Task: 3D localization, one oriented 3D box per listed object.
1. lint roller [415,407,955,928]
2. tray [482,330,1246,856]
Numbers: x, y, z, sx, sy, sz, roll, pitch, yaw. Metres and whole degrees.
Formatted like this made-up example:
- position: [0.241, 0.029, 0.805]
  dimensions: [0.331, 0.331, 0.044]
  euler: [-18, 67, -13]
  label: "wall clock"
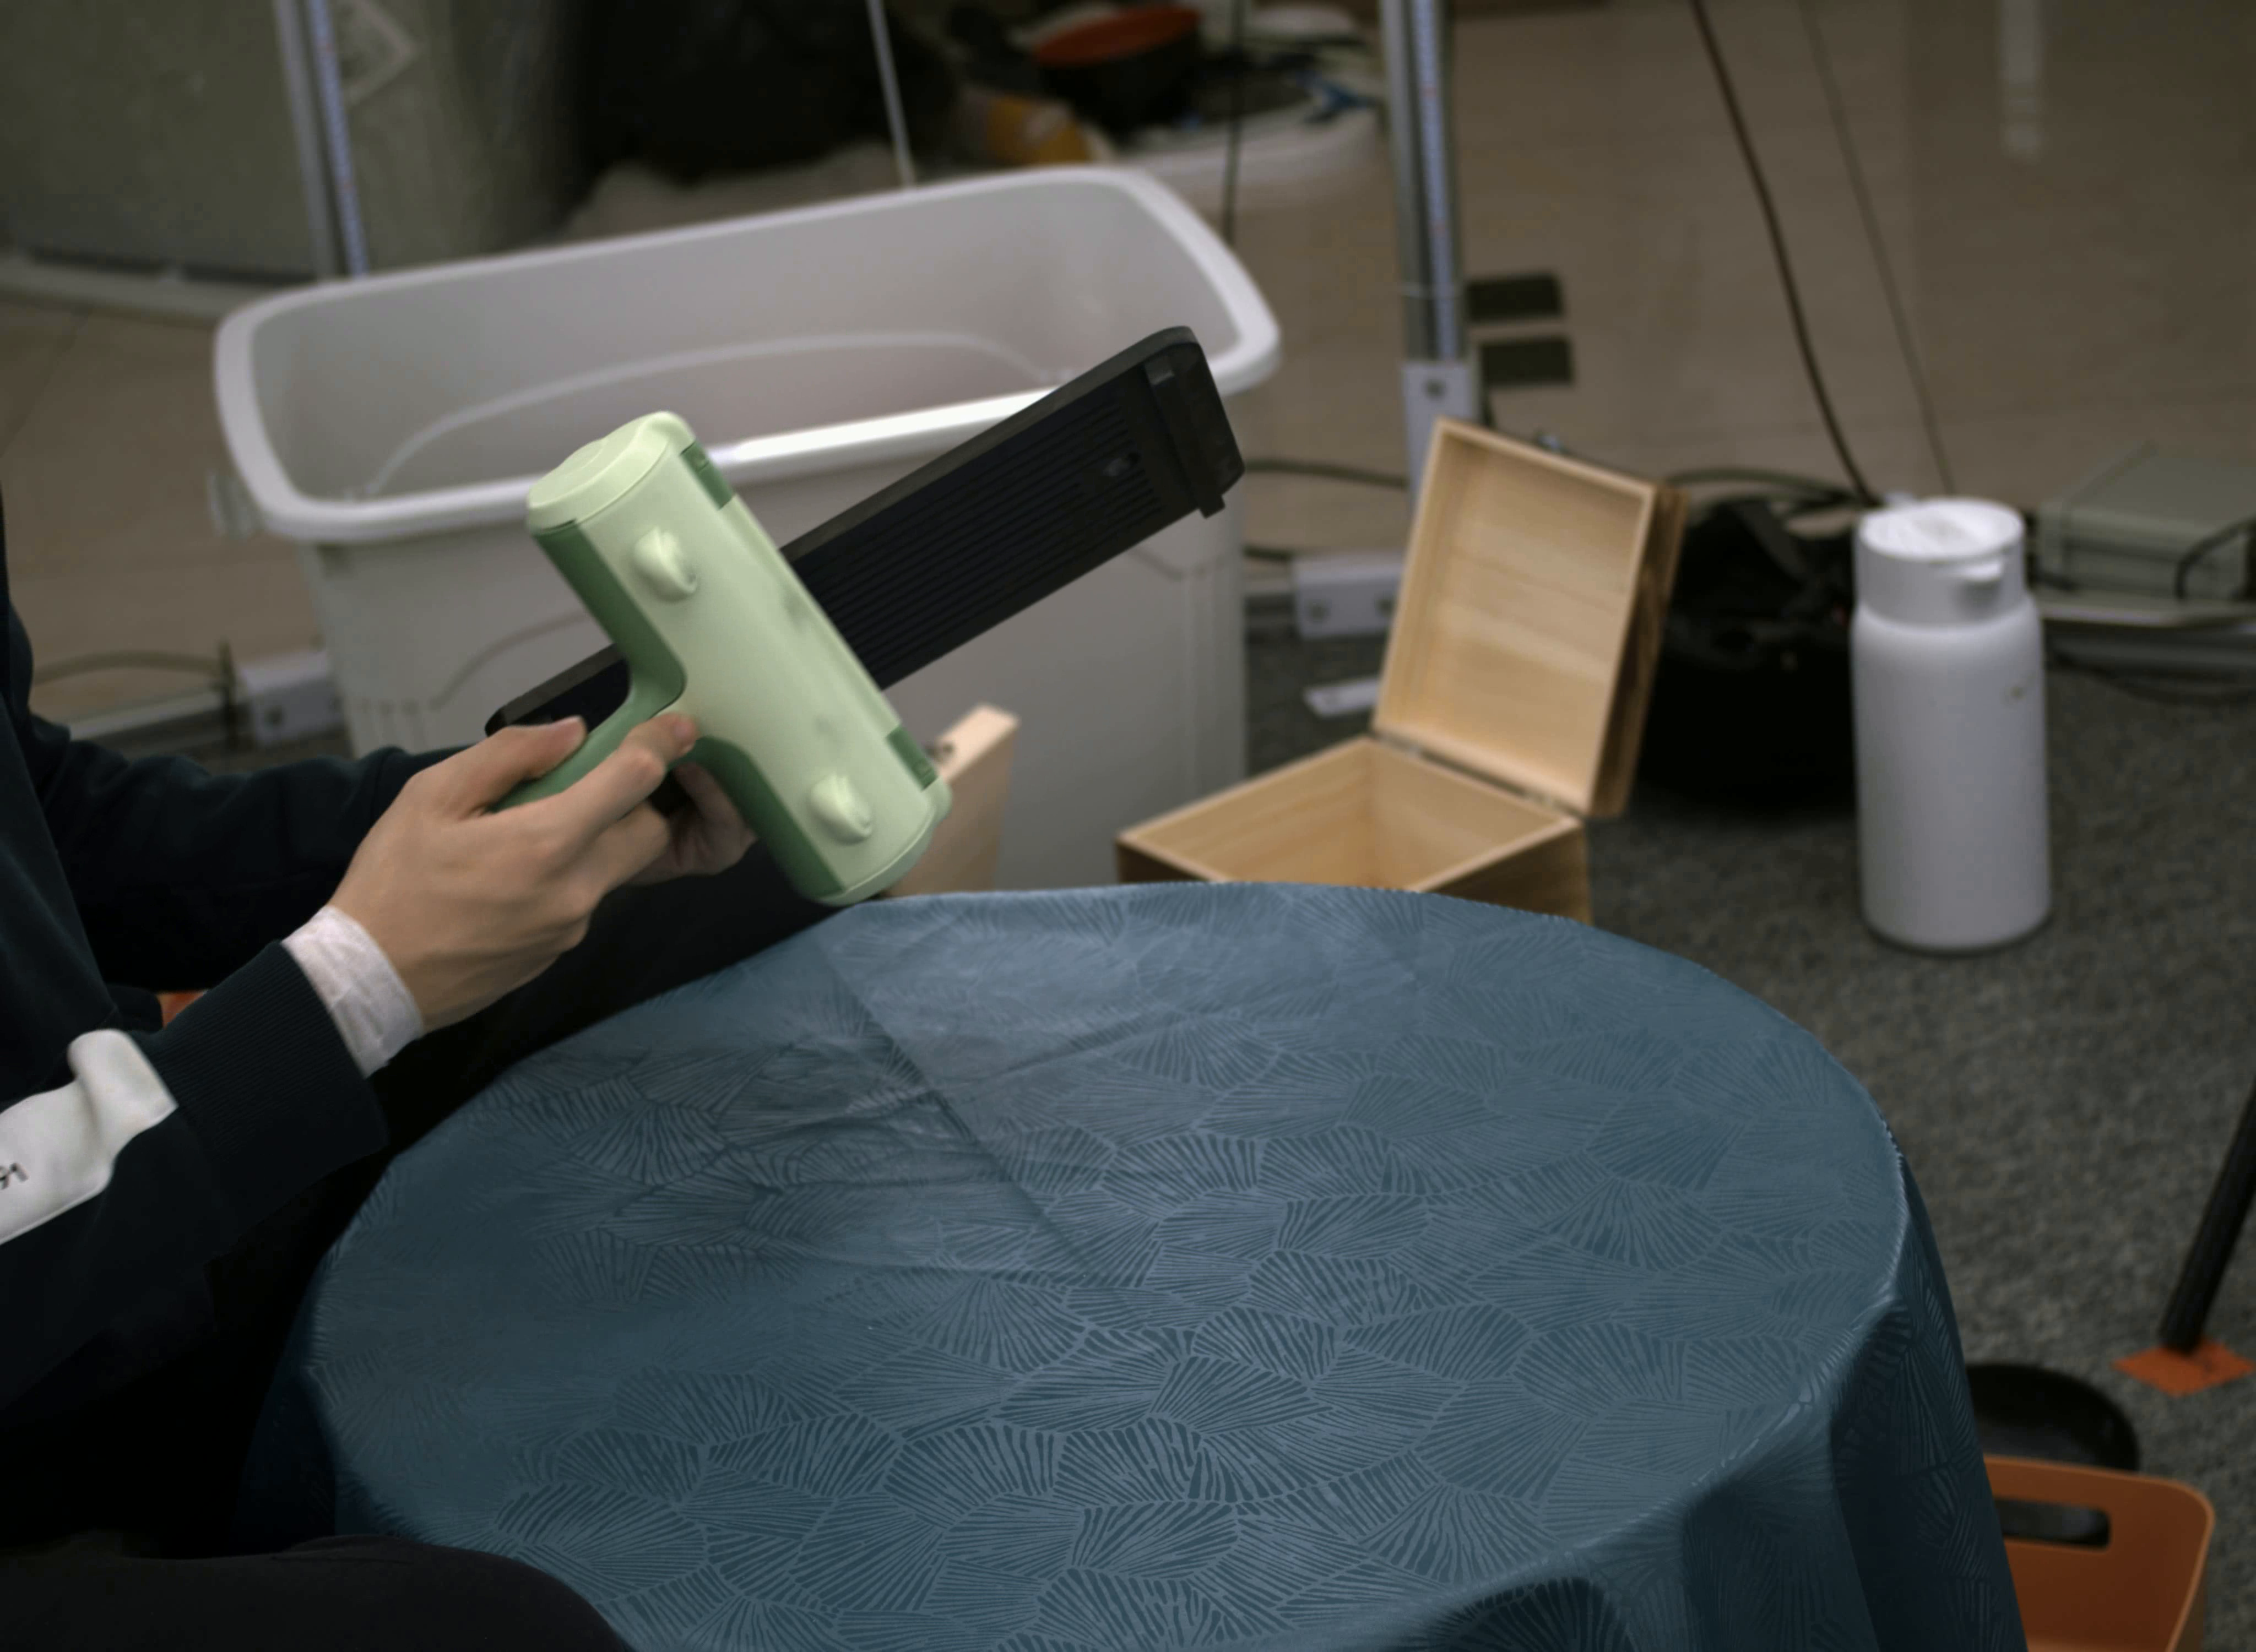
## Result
- position: [-0.177, -0.023, 2.047]
  dimensions: [0.182, 0.201, 0.082]
  euler: [-43, 26, -17]
  label: "lint roller"
- position: [-0.095, -0.084, 2.169]
  dimensions: [0.305, 0.172, 0.018]
  euler: [-30, 72, 0]
  label: "tray"
